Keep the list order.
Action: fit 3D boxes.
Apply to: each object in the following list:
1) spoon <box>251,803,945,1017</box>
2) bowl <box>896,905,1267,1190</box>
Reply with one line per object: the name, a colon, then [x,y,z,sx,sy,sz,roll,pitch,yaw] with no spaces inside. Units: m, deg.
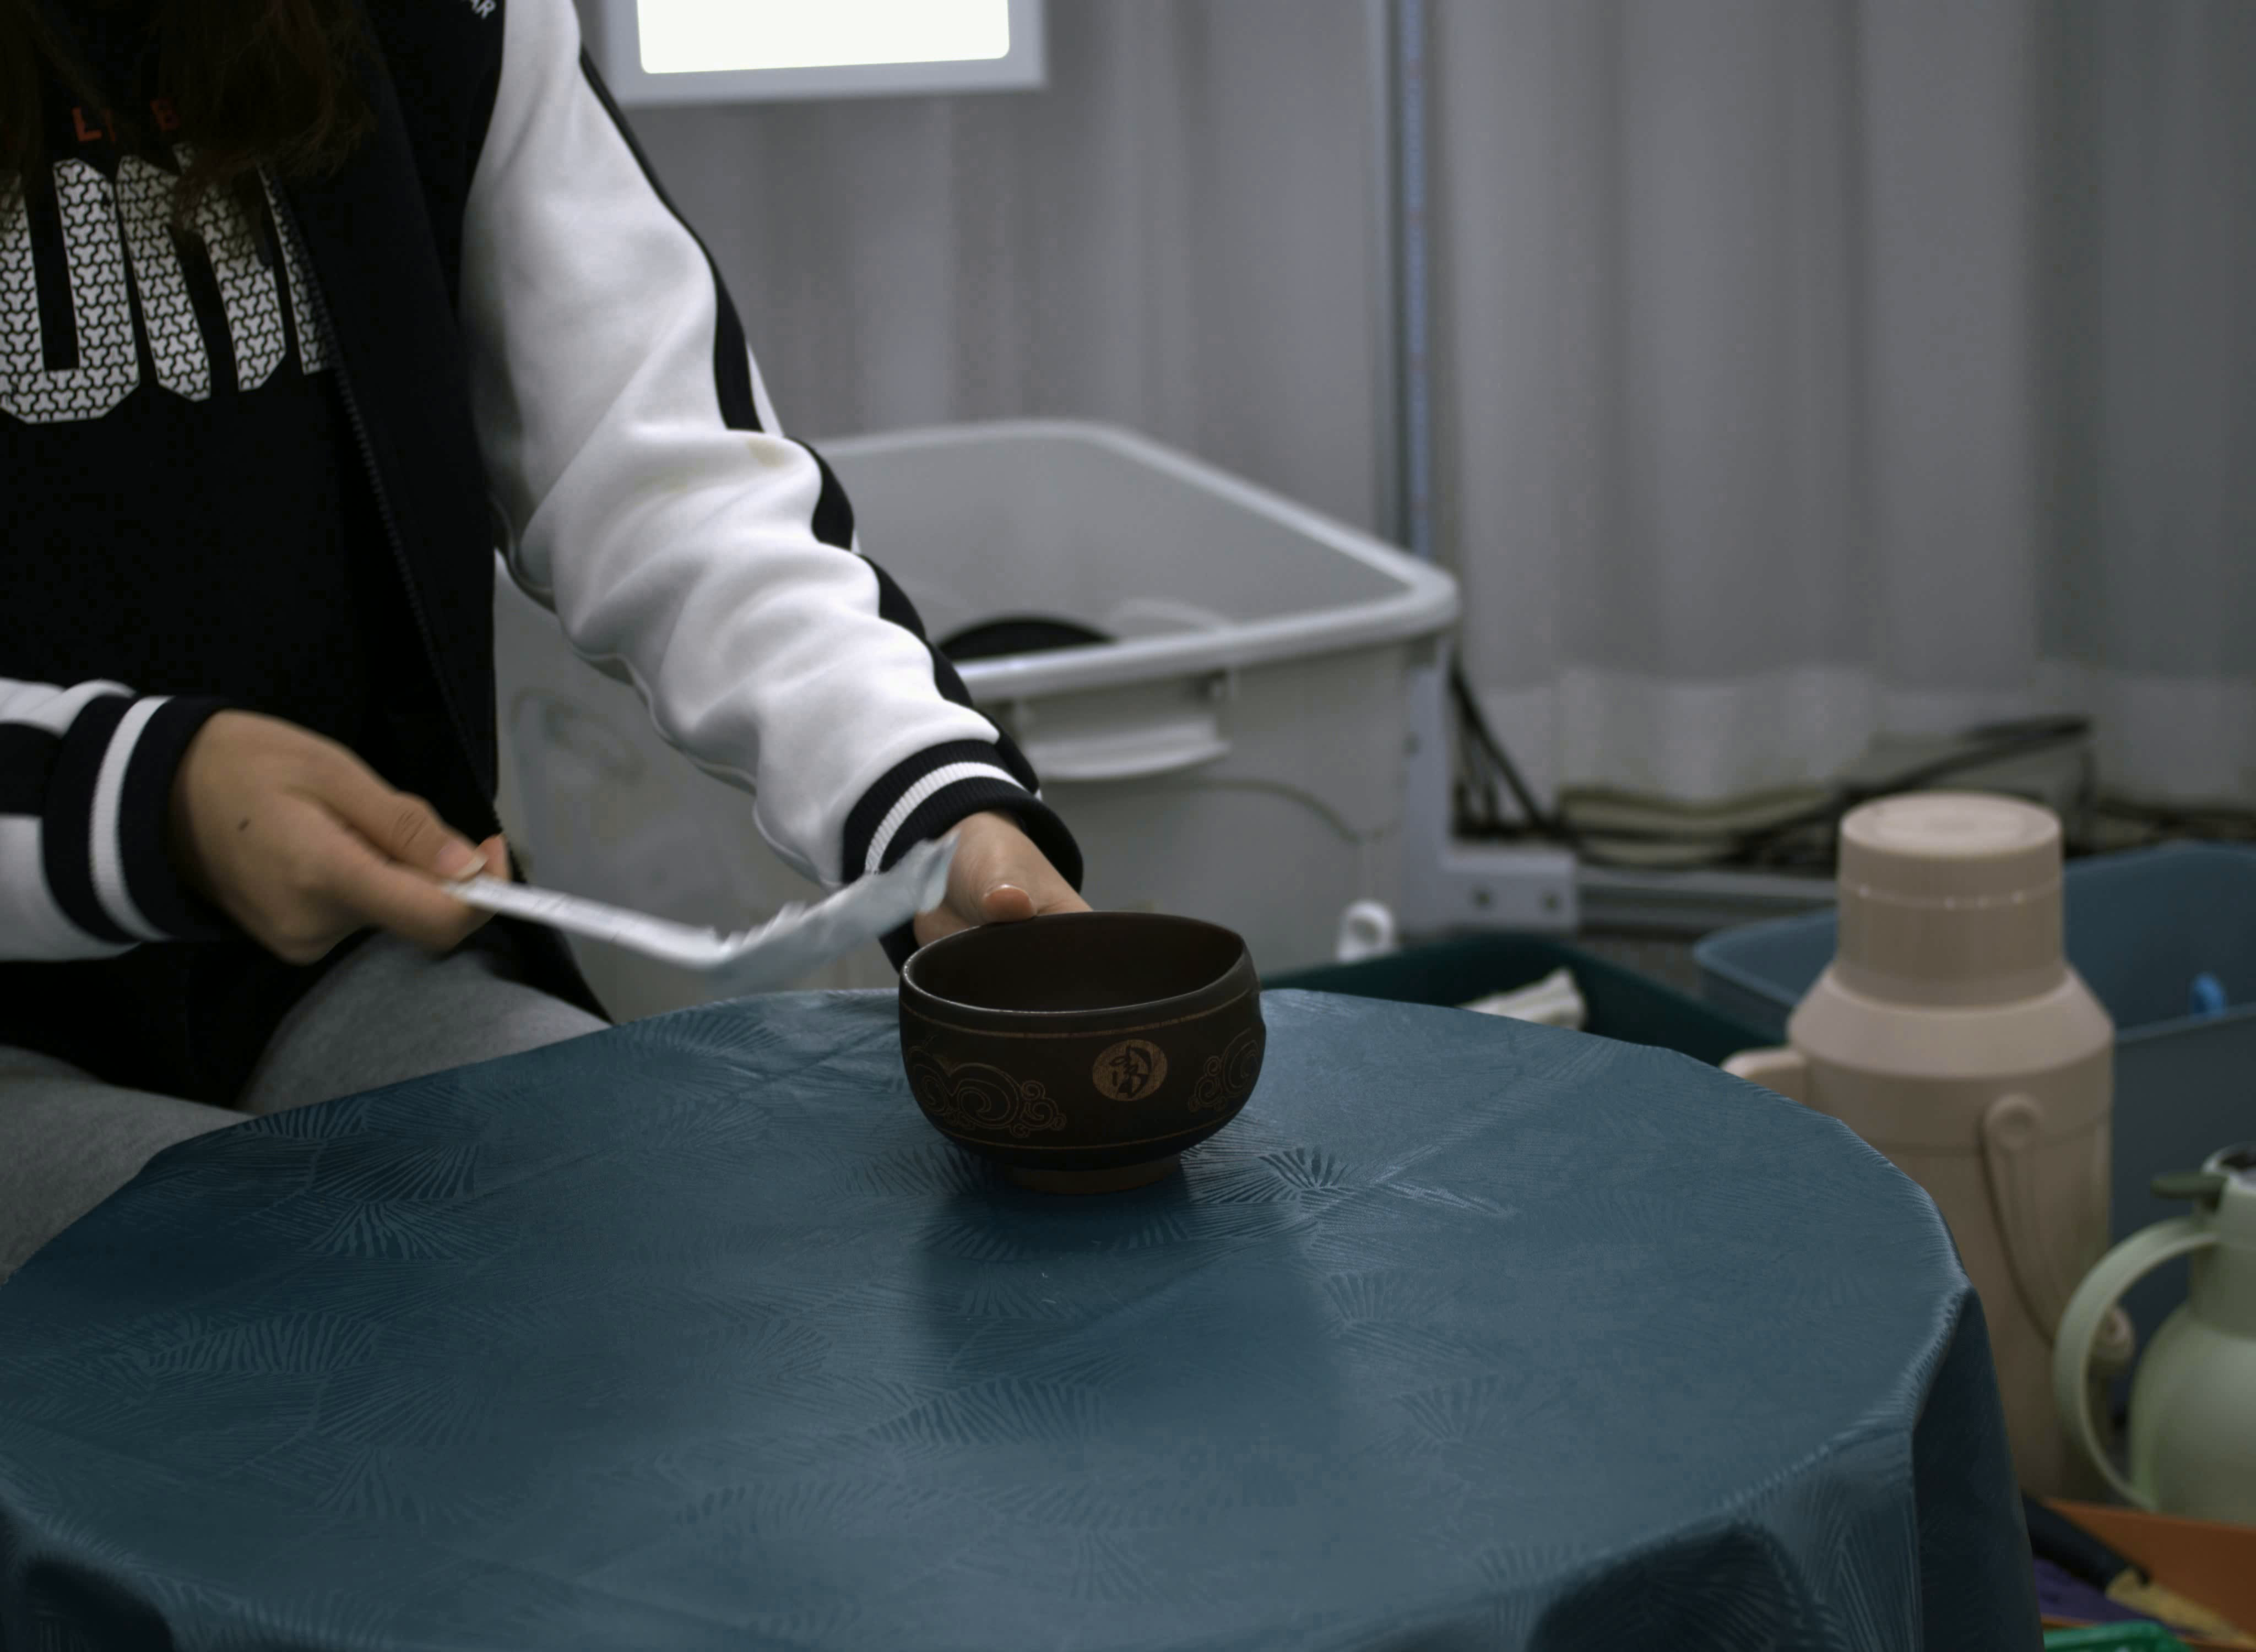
spoon: [-0.169,0.005,1.664,0.279,0.059,0.101,18,28,37]
bowl: [-0.014,0.074,1.730,0.117,0.069,0.119,-3,14,0]
